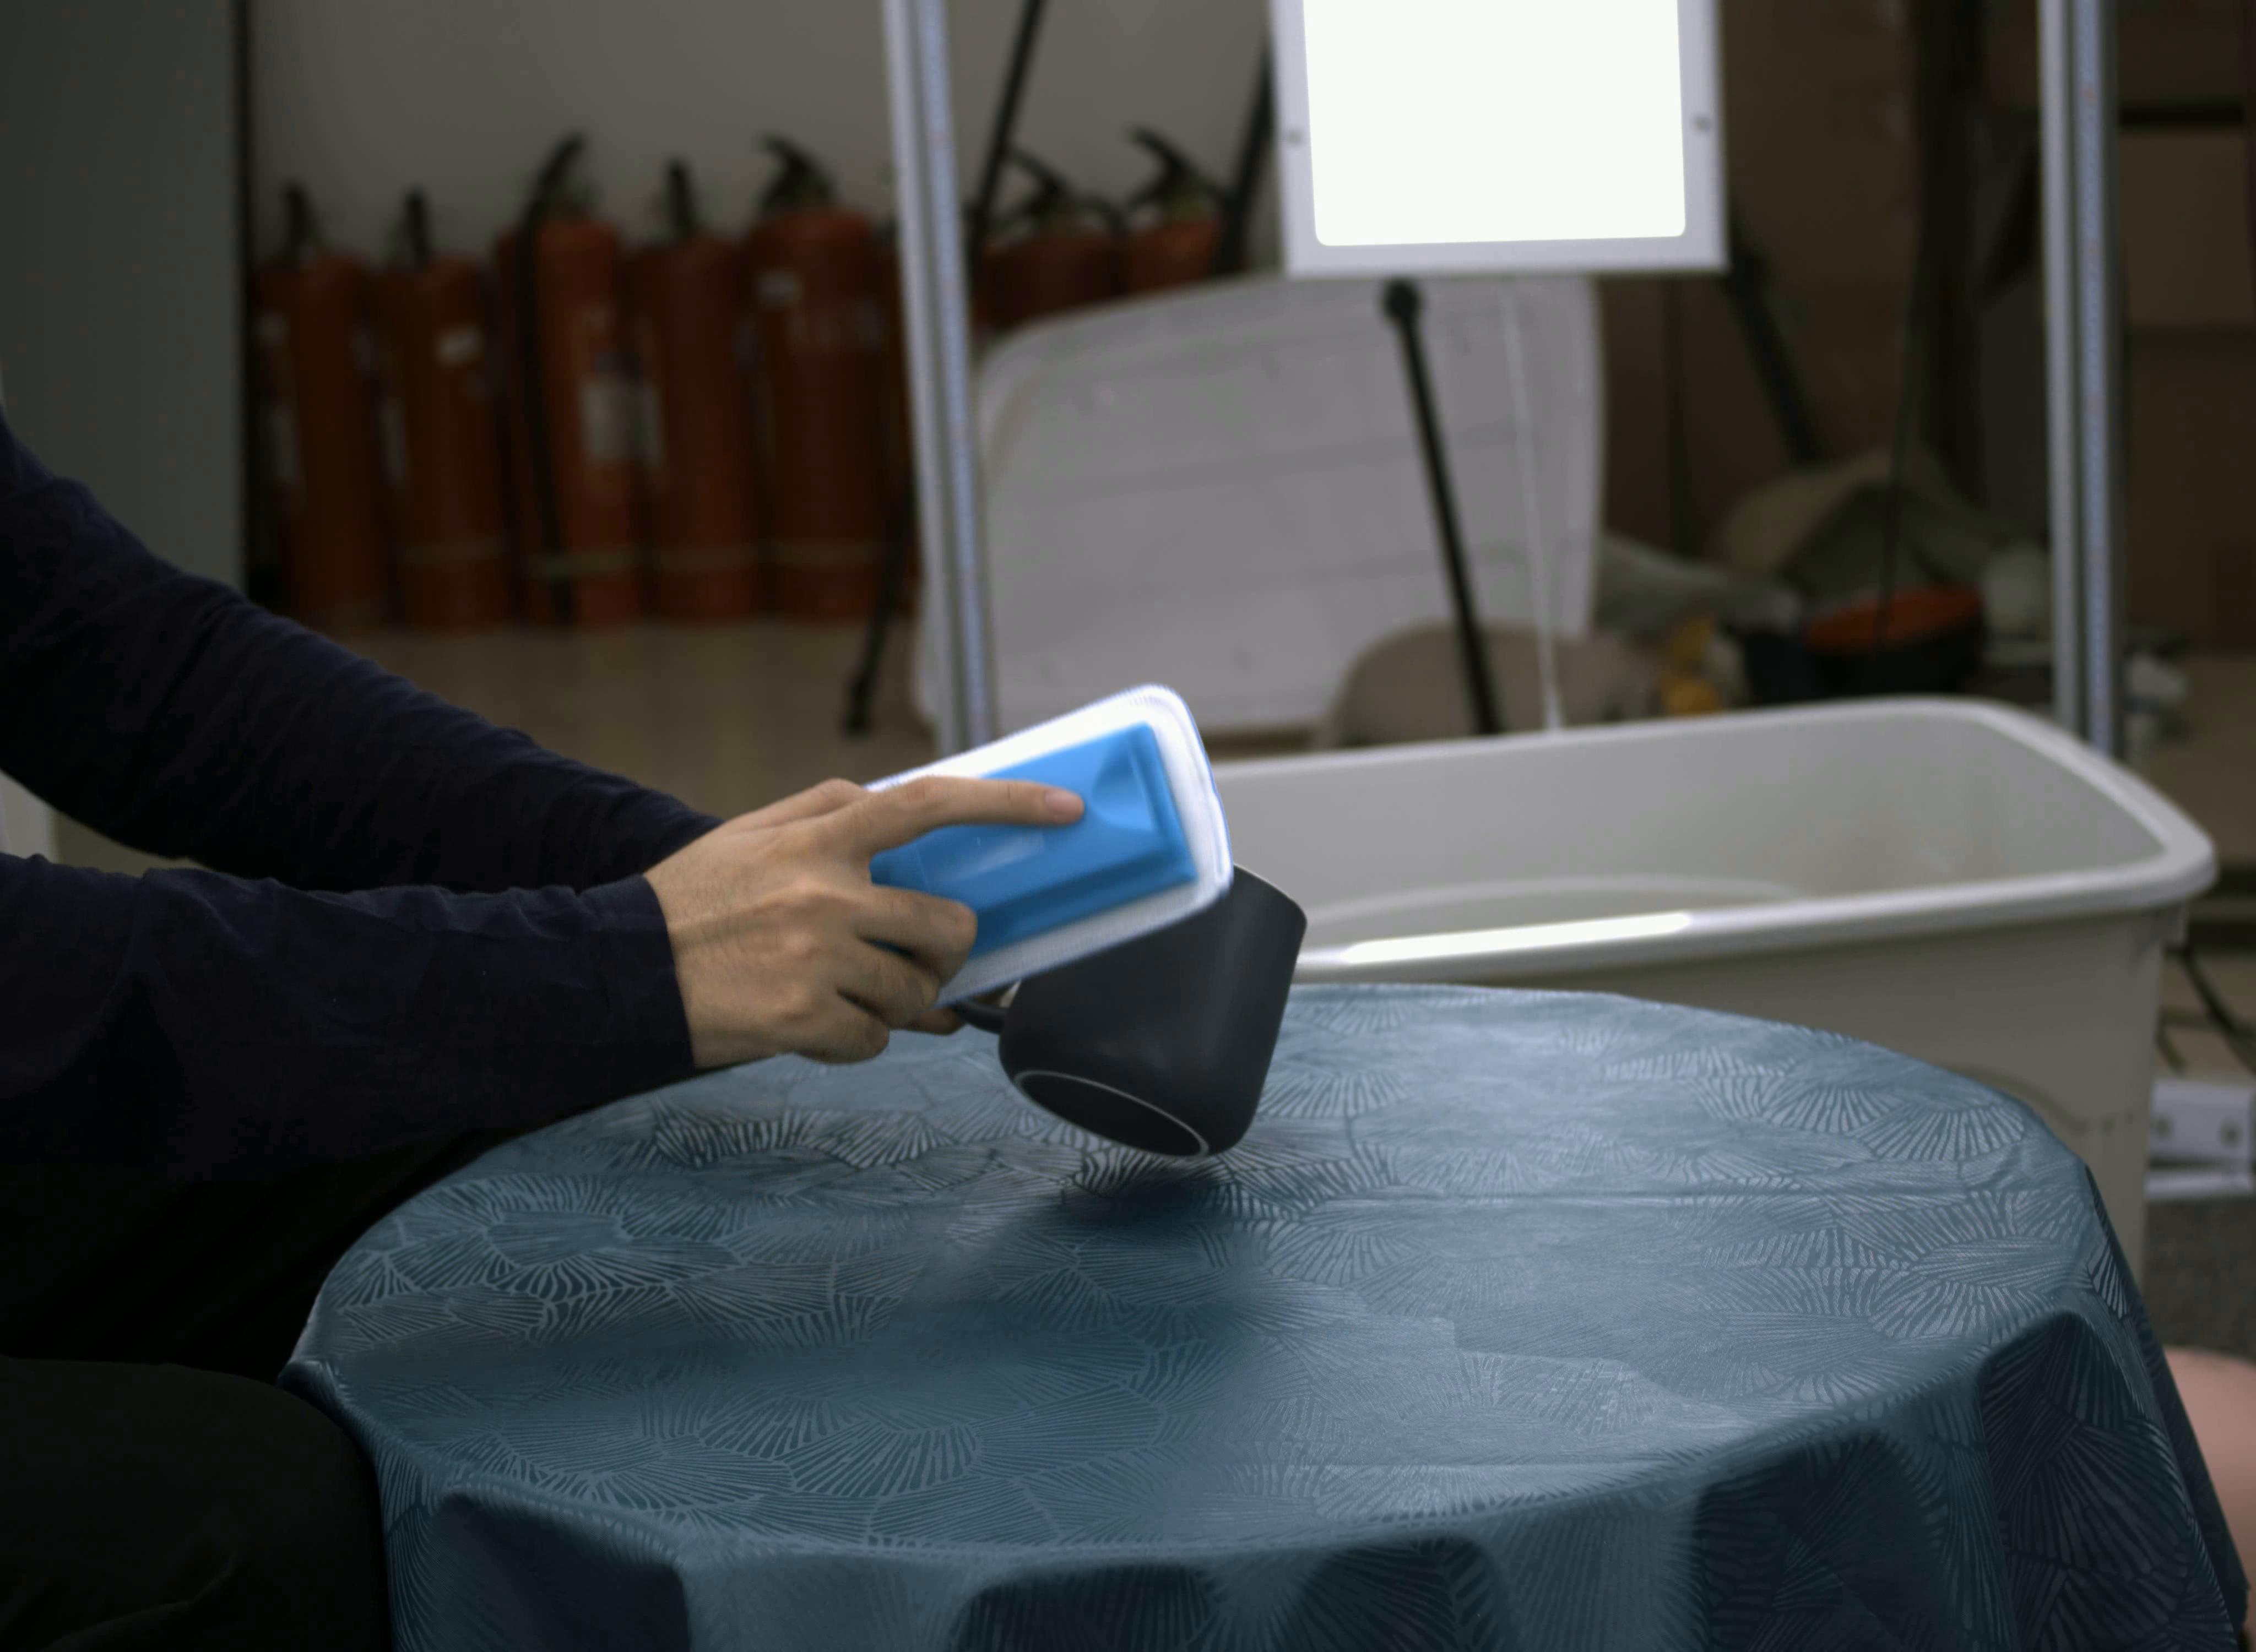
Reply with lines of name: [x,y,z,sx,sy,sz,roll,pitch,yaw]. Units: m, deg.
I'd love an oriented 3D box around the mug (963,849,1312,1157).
mug: [-0.003,0.055,1.915,0.125,0.089,0.093,17,-17,20]

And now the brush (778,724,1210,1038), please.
brush: [-0.048,0.012,1.803,0.145,0.084,0.055,-16,-20,10]
